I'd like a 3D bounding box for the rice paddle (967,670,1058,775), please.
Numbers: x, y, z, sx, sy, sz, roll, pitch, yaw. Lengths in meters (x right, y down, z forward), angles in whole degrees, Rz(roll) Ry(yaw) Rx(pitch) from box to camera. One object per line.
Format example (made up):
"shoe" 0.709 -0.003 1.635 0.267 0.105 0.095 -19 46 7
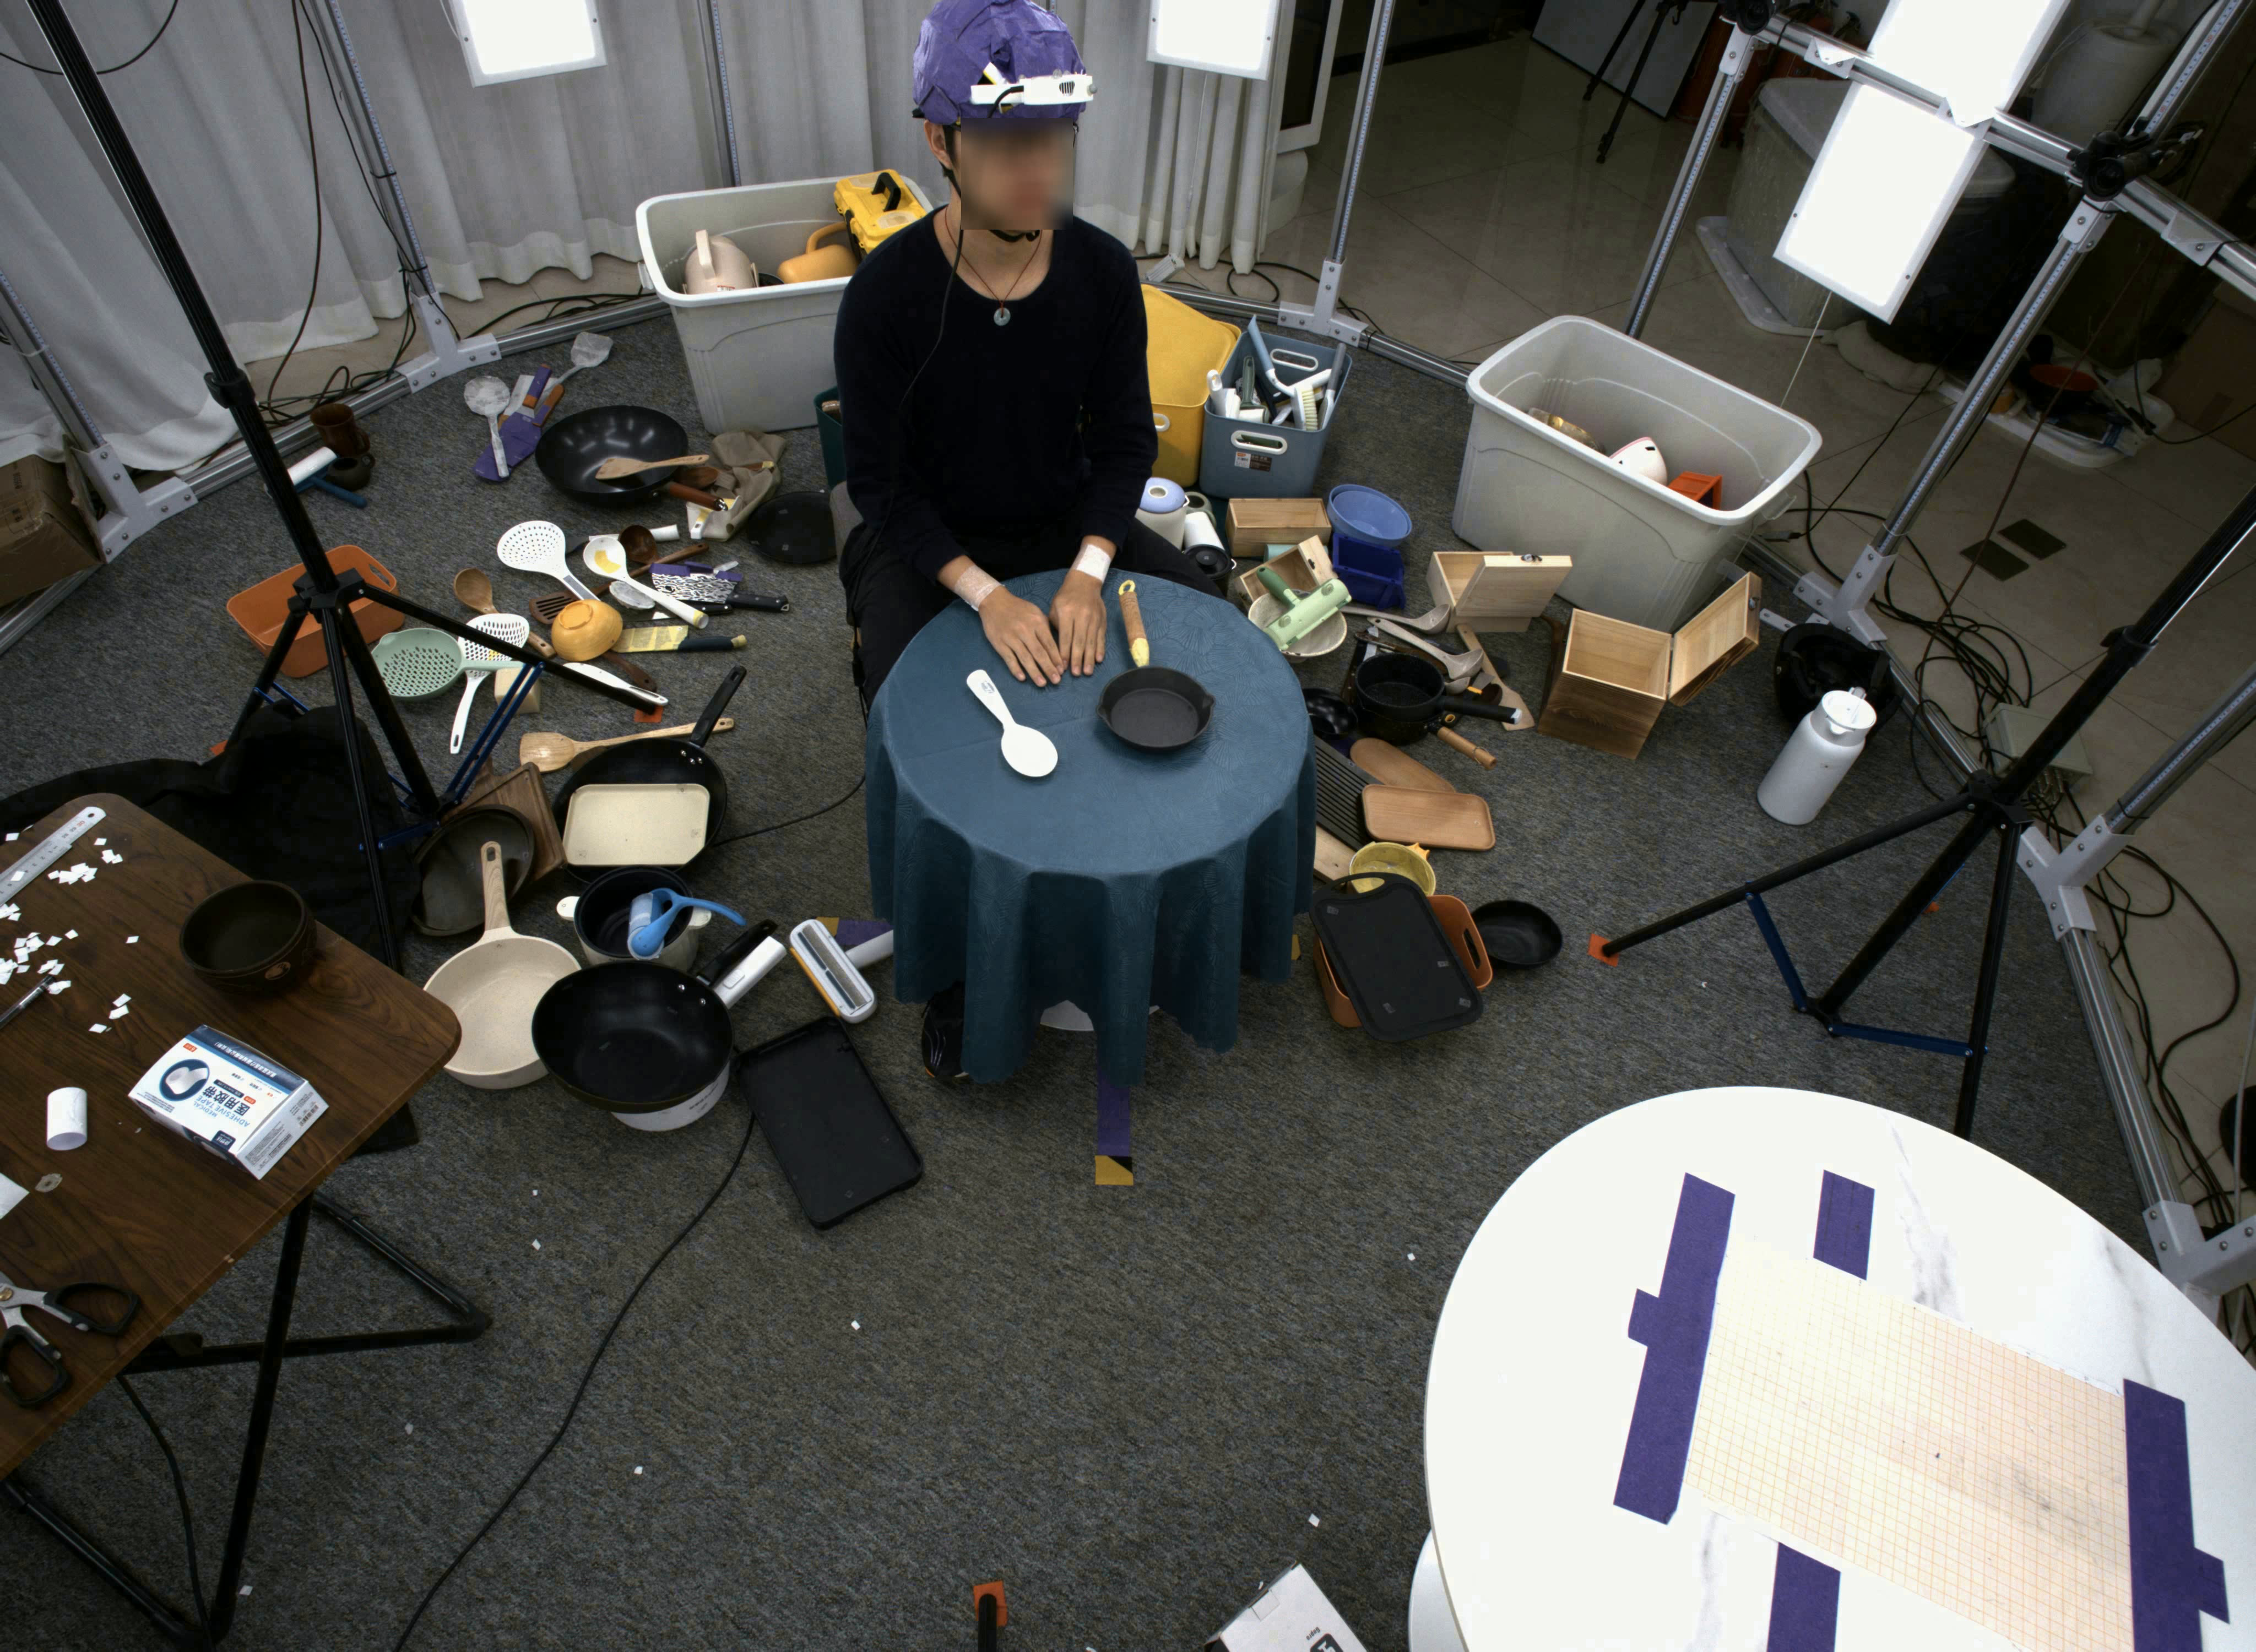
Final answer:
"rice paddle" -0.161 -0.141 1.762 0.069 0.029 0.209 -23 54 -20

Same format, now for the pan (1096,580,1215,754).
"pan" 0.025 -0.229 1.836 0.169 0.048 0.332 -5 51 -8
